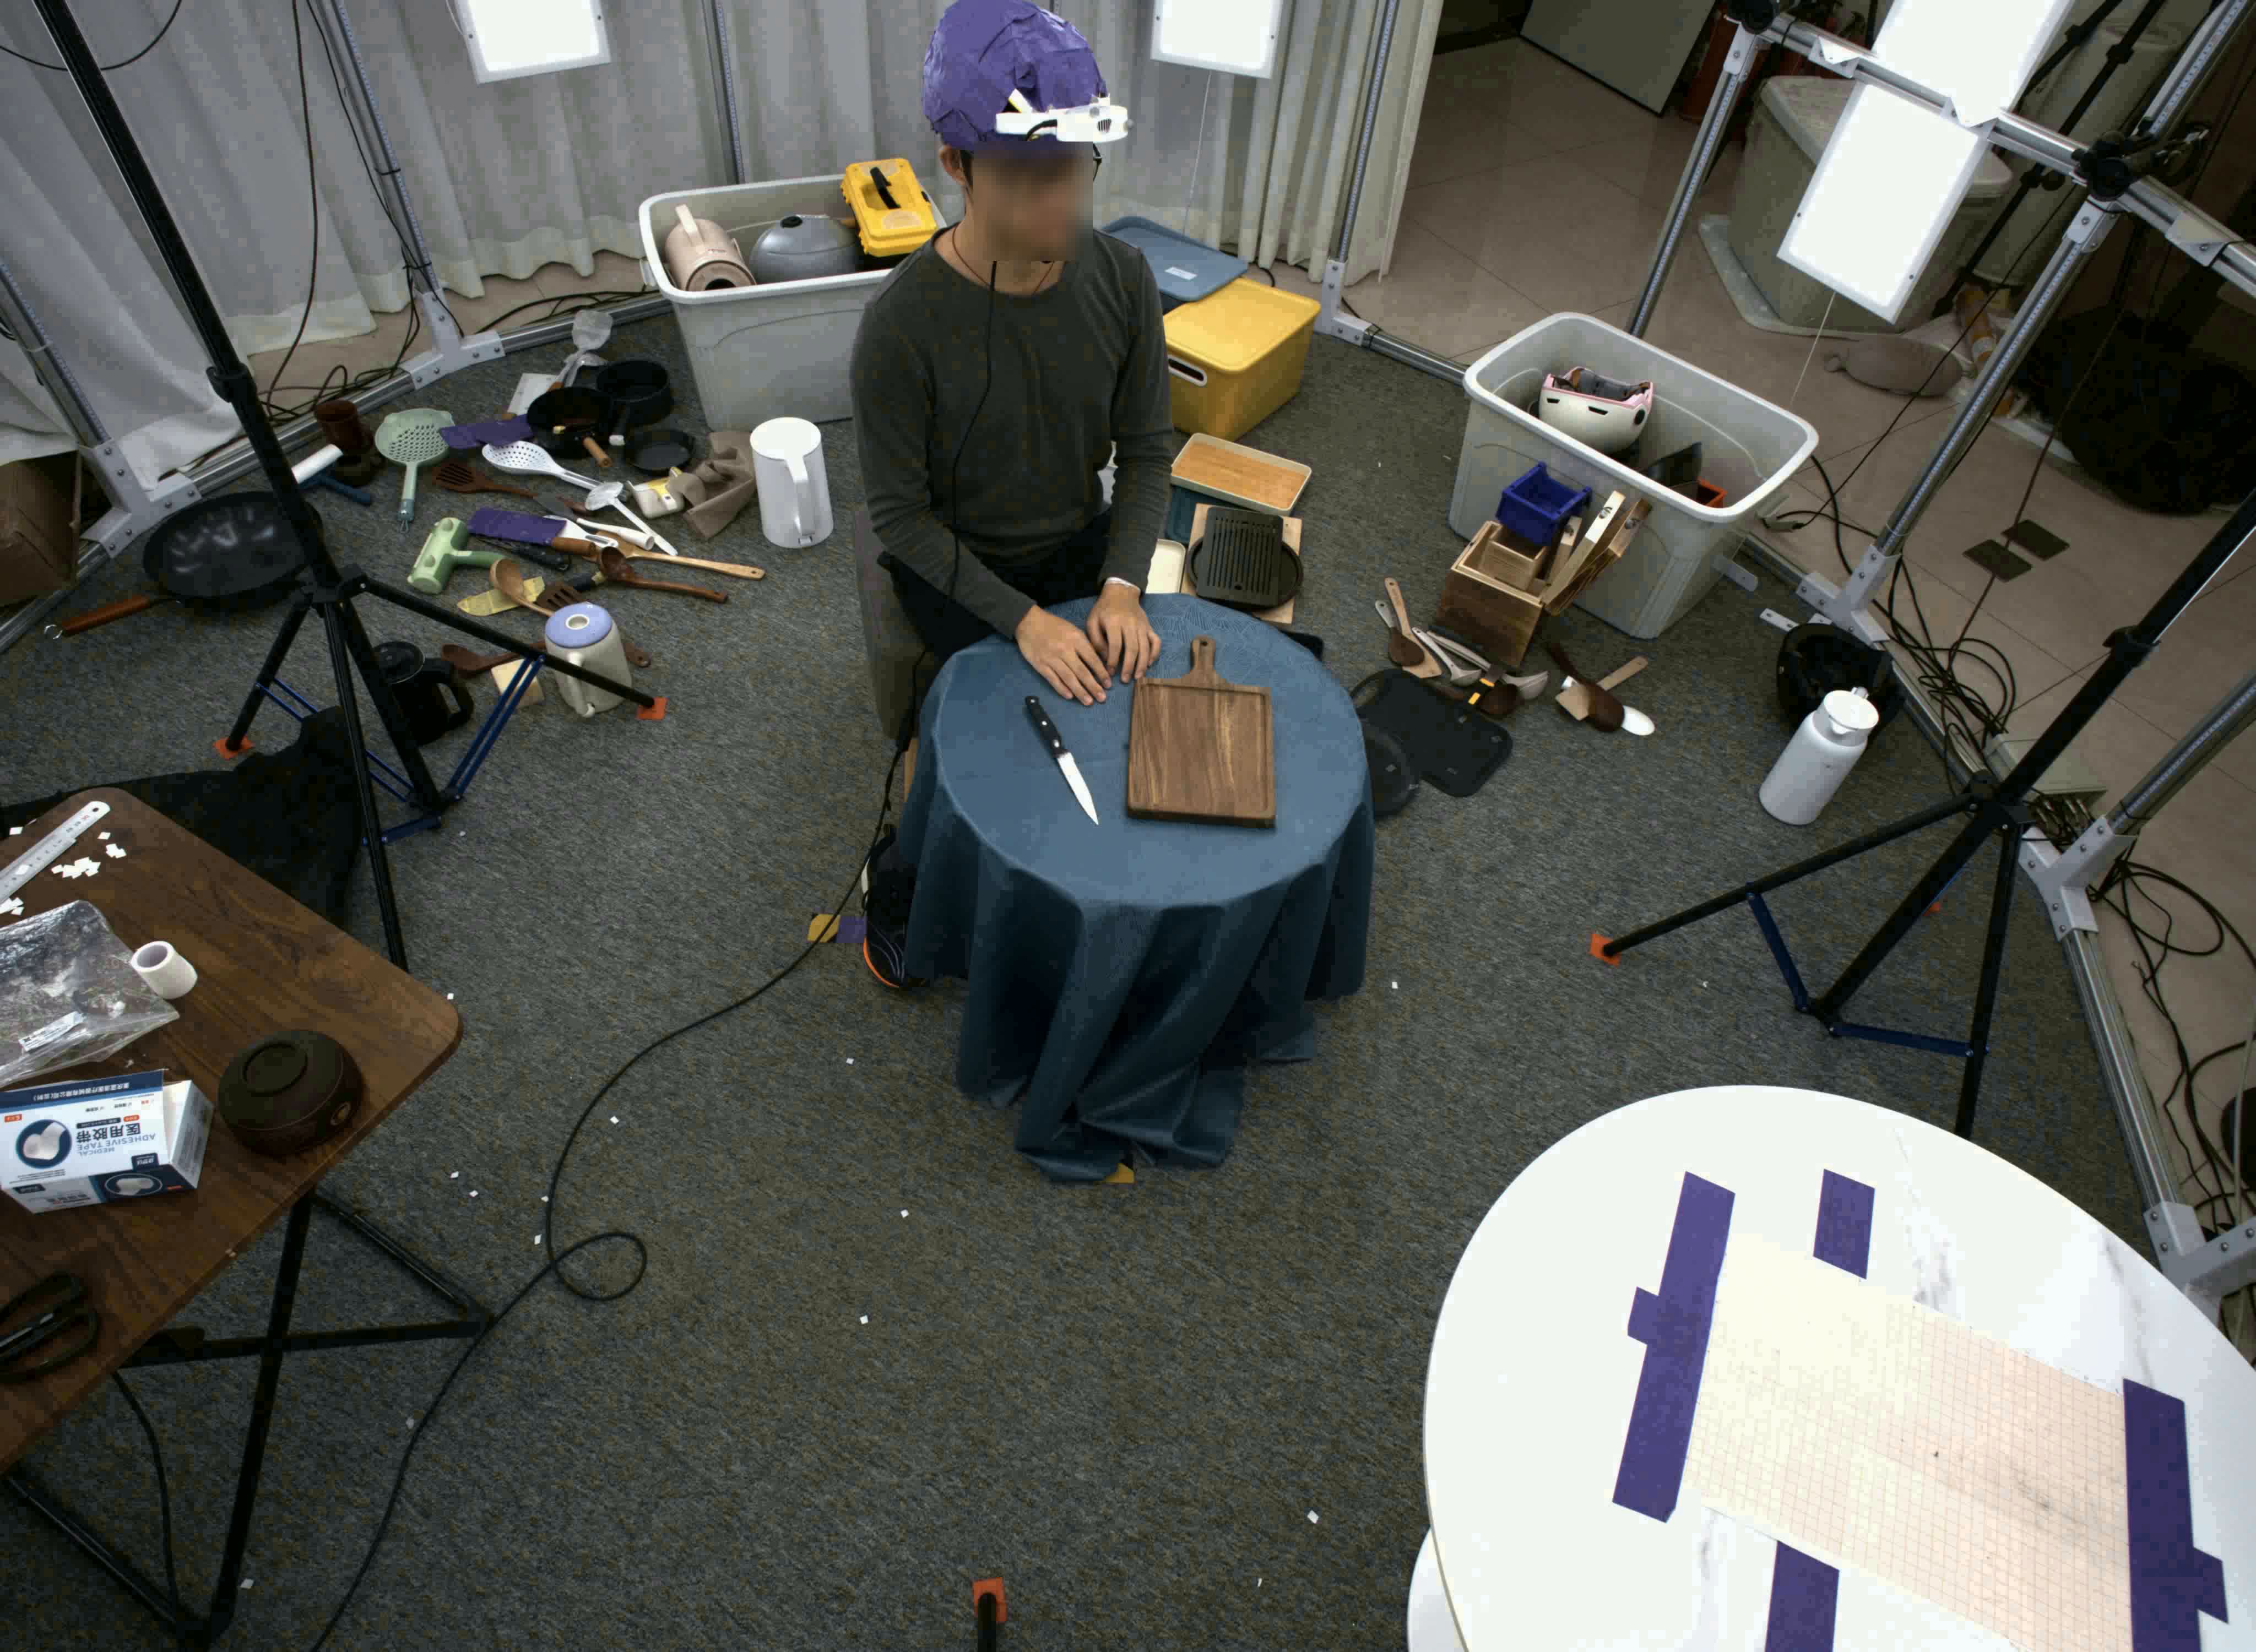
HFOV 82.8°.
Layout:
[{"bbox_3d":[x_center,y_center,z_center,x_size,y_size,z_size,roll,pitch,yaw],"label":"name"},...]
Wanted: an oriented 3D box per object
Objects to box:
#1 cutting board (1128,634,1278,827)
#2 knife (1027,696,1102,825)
[{"bbox_3d":[0.103,-0.143,1.786,0.201,0.022,0.361,4,49,-1],"label":"cutting board"},{"bbox_3d":[-0.087,-0.089,1.731,0.024,0.016,0.243,-18,55,-16],"label":"knife"}]
